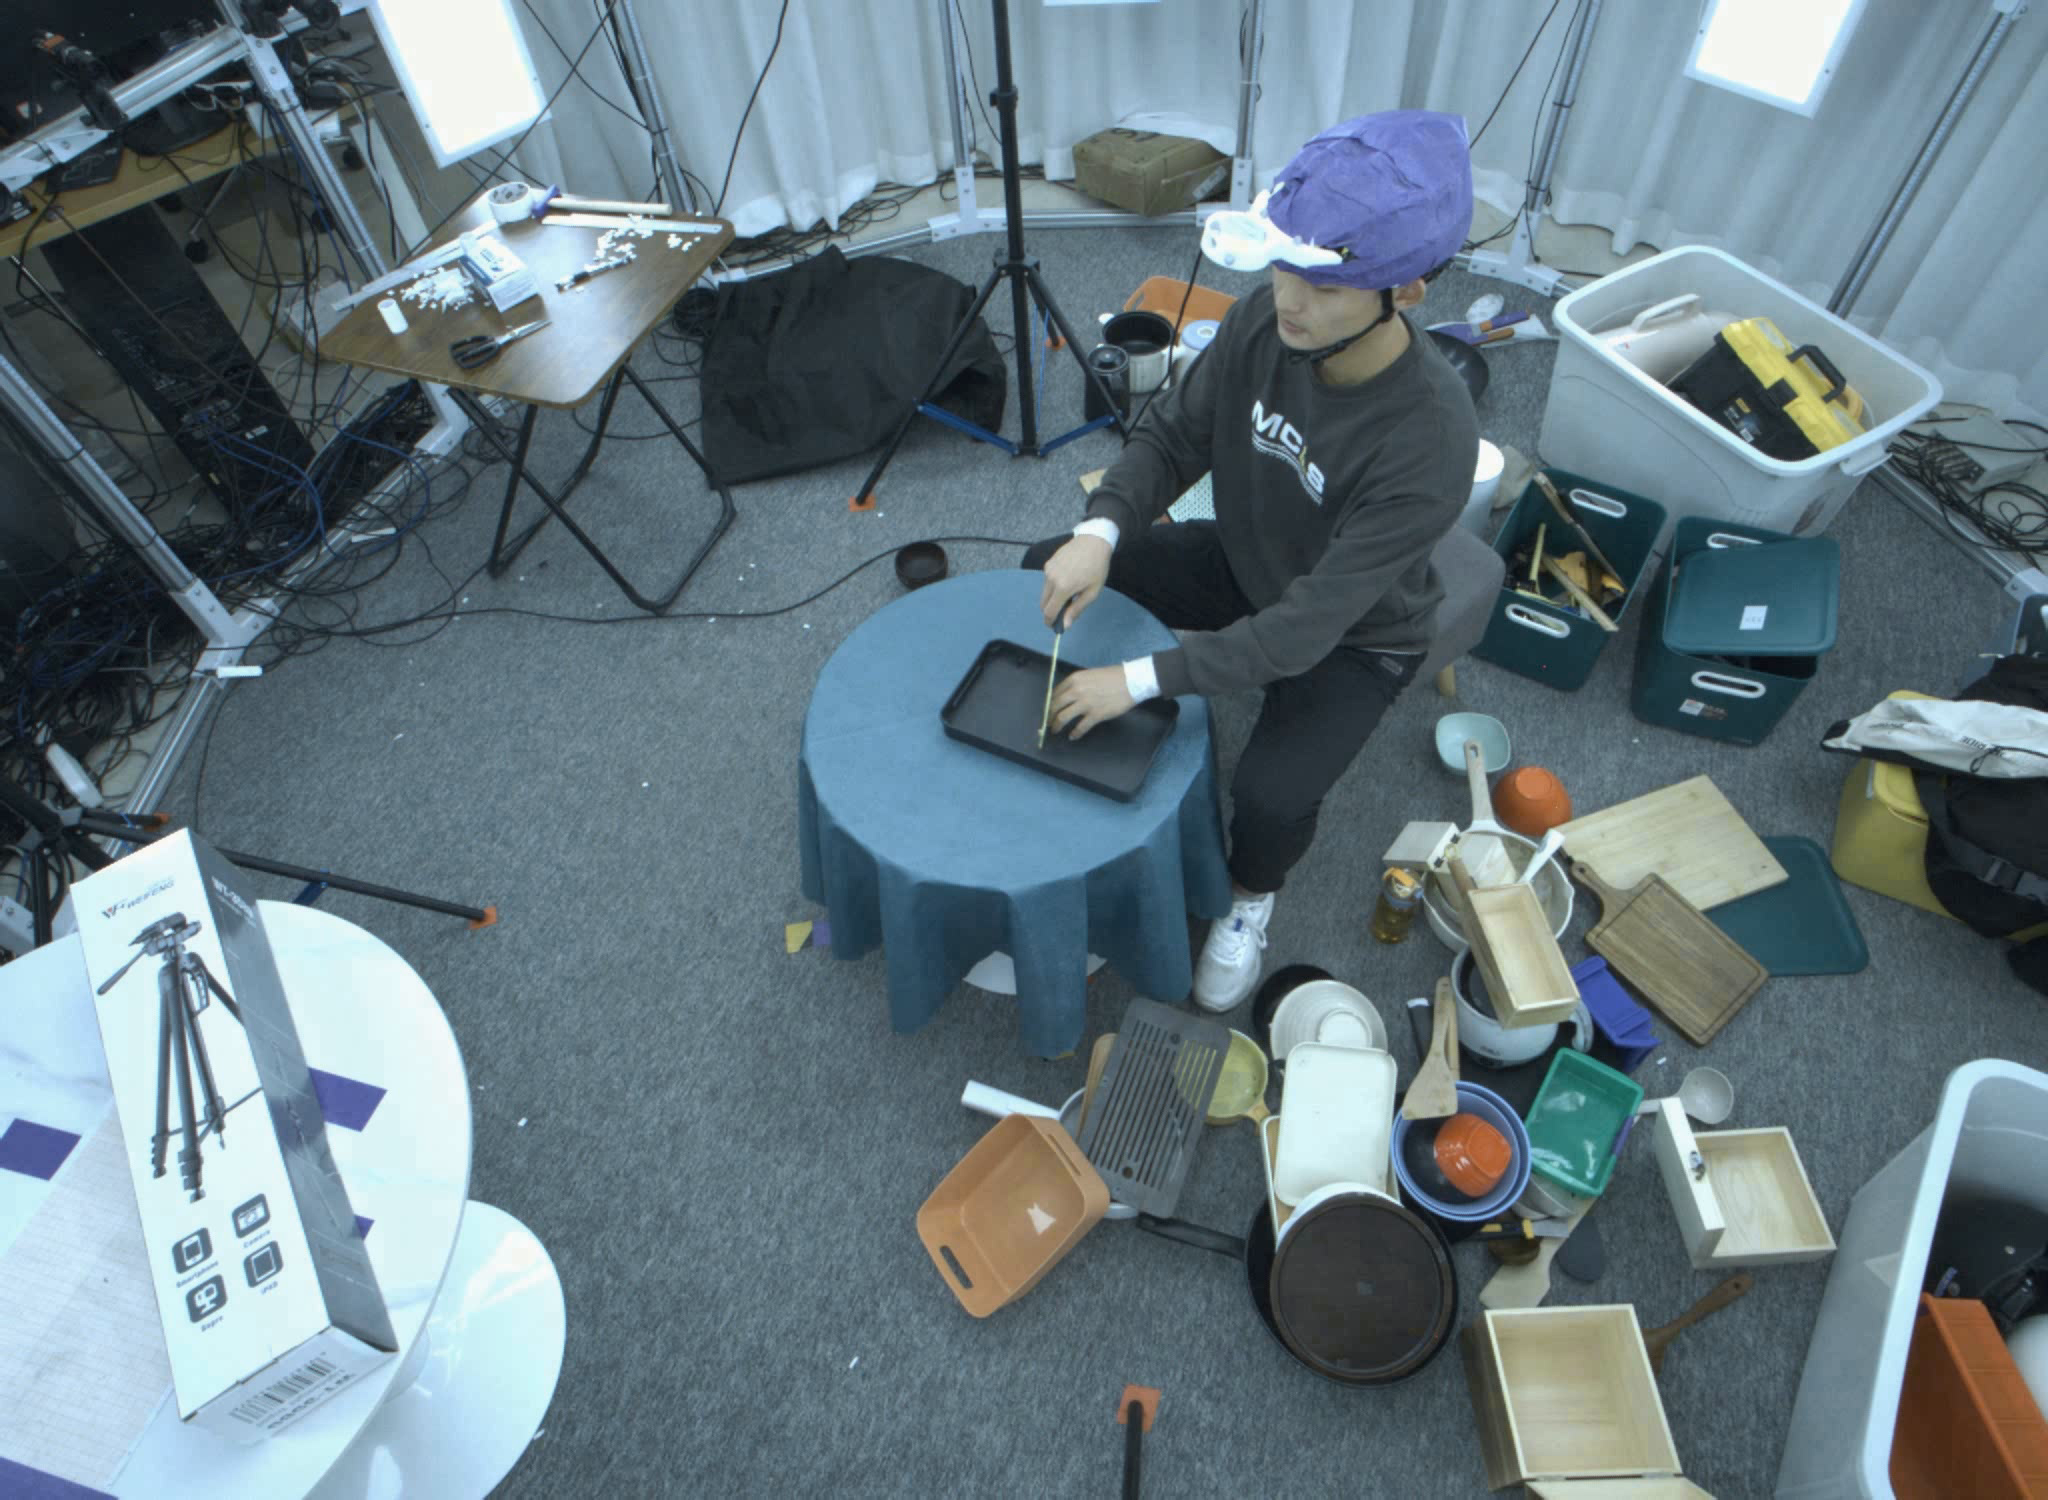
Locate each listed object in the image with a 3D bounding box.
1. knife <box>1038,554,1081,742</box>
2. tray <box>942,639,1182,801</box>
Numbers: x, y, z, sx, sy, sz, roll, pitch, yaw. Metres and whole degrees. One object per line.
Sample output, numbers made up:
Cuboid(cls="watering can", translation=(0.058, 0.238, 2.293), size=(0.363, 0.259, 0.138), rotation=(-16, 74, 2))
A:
Cuboid(cls="knife", translation=(0.048, -0.150, 1.798), size=(0.027, 0.081, 0.288), rotation=(12, 76, -4))
Cuboid(cls="tray", translation=(0.056, -0.048, 1.804), size=(0.314, 0.037, 0.184), rotation=(19, 57, 14))
